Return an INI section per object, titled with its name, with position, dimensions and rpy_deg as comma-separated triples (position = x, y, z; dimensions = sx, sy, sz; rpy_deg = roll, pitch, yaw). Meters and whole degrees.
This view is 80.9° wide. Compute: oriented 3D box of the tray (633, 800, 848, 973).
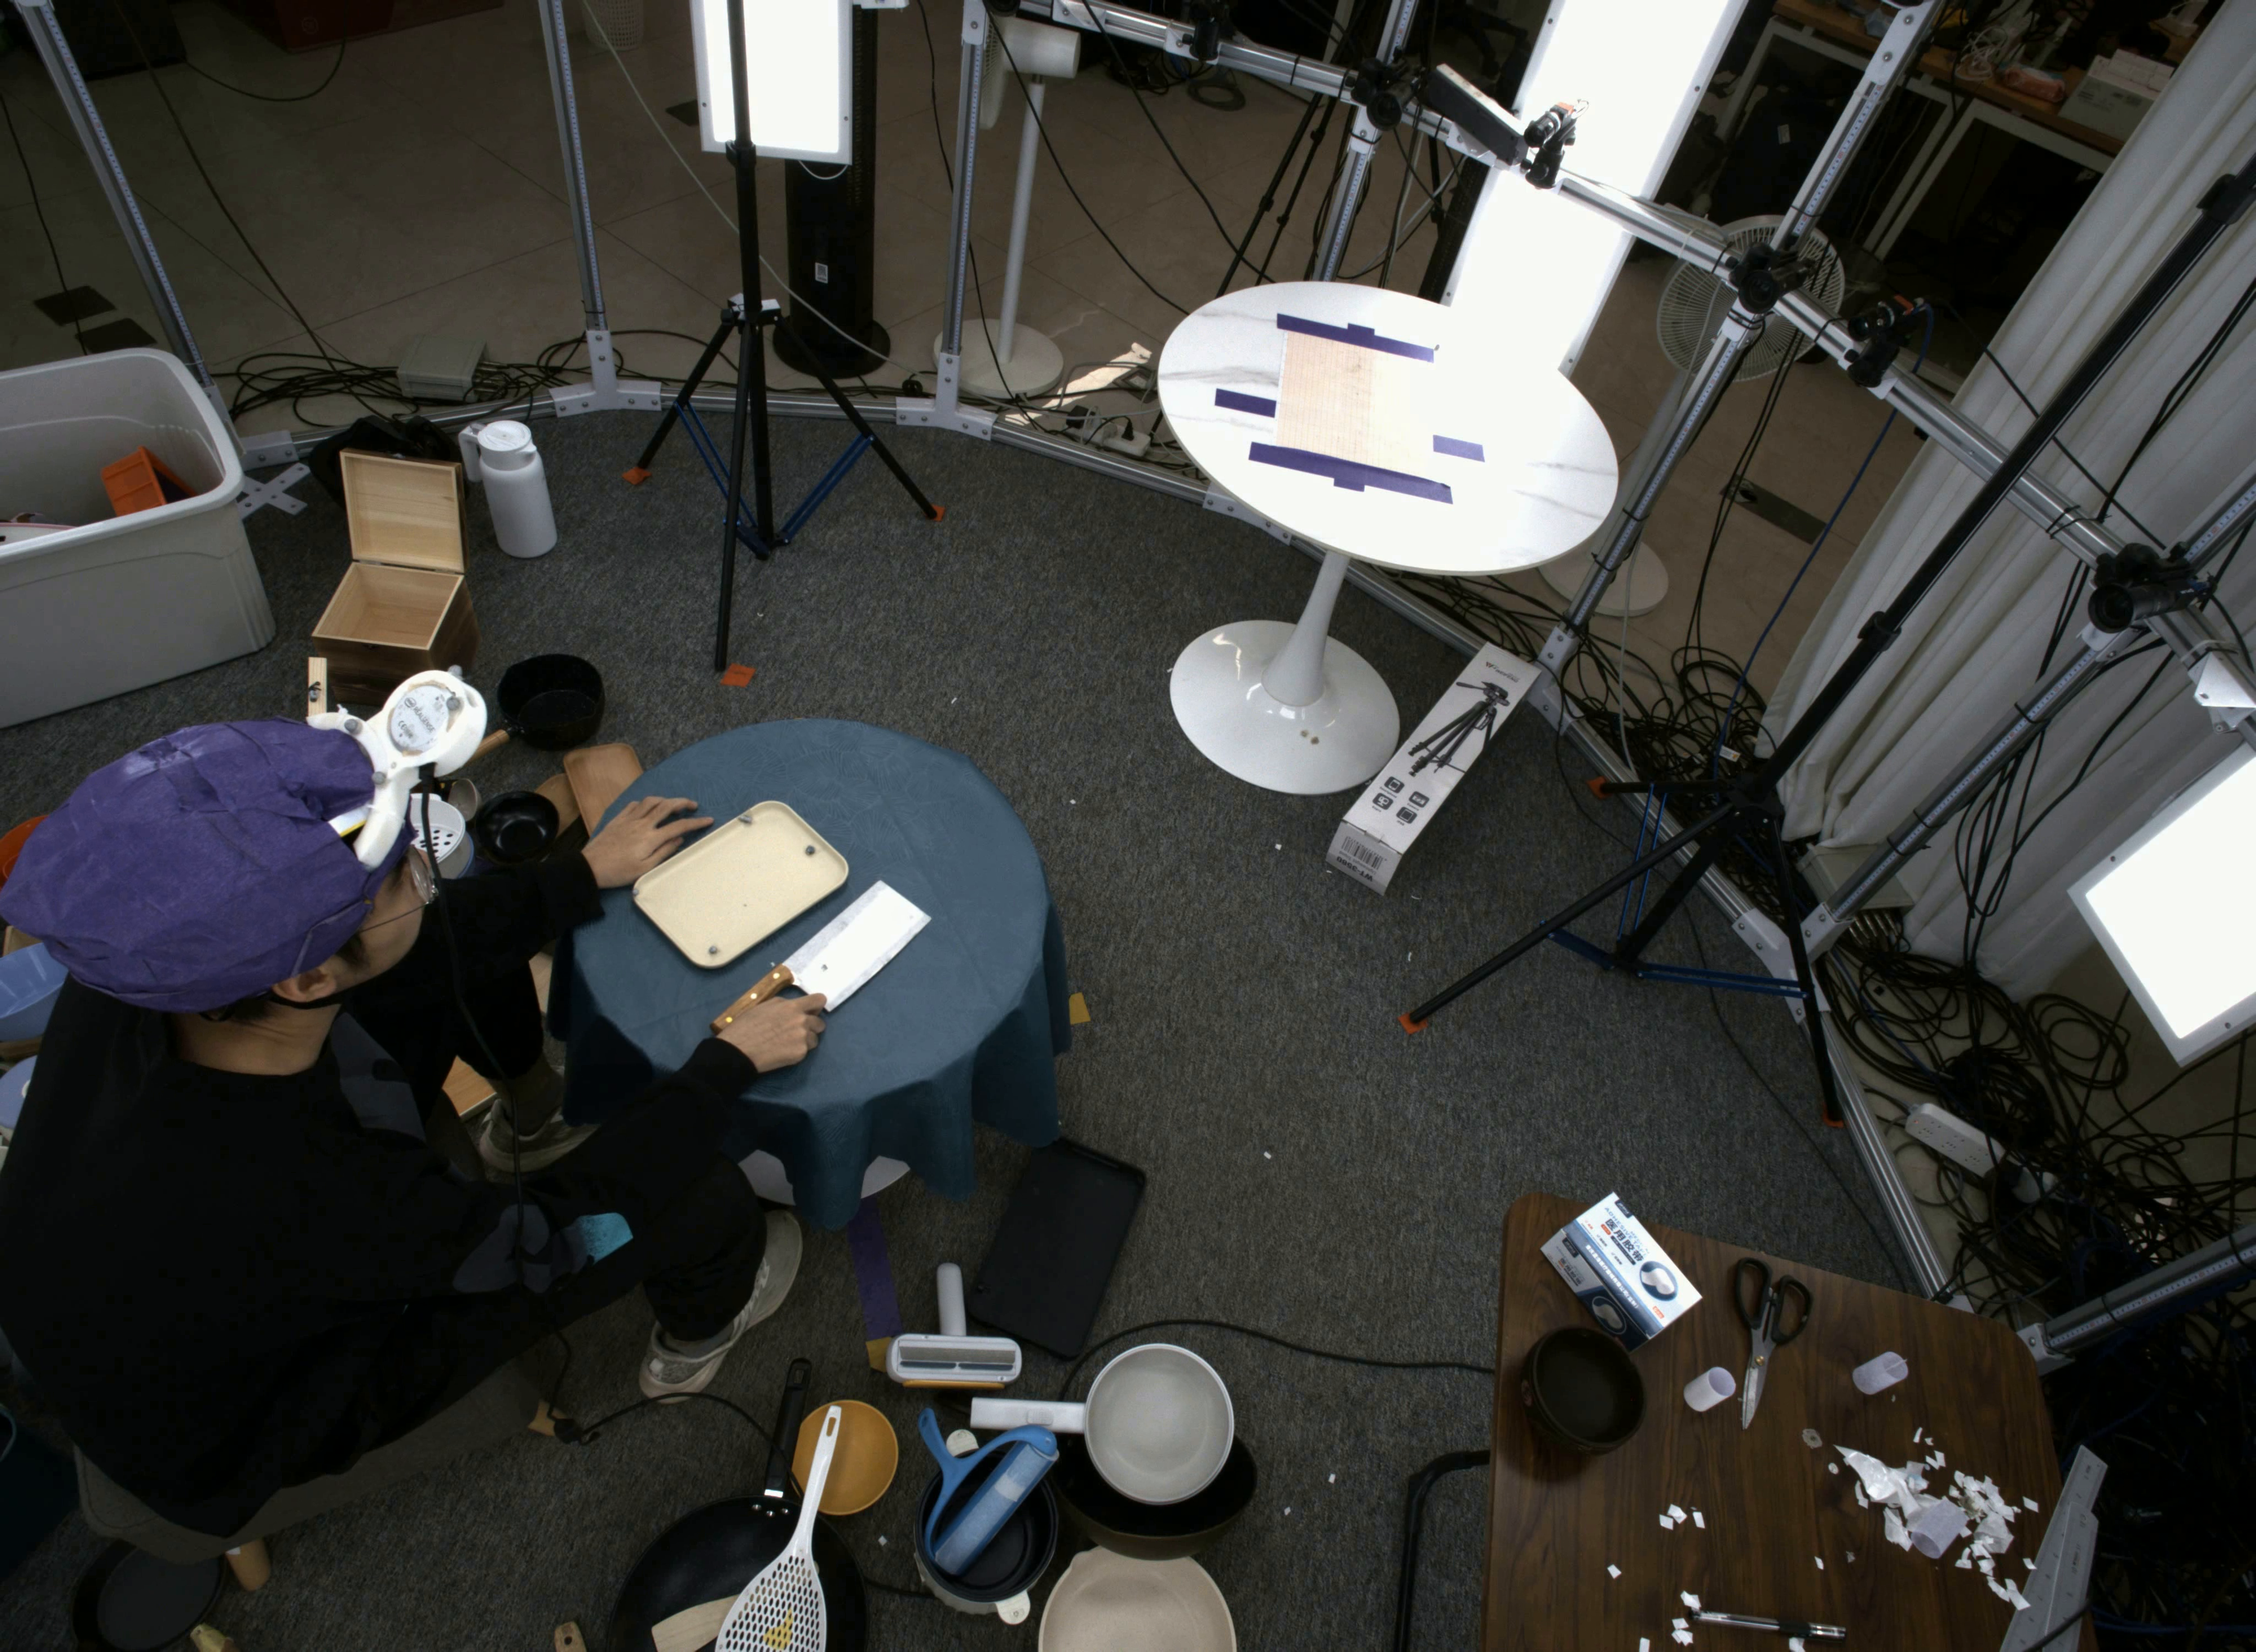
[tray]
position = -0.487, 0.072, 1.631
dimensions = 0.168, 0.018, 0.240
rpy_deg = 41, 54, 15

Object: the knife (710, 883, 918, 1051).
[knife]
position = -0.373, 0.177, 1.585
dimensions = 0.091, 0.021, 0.305
rpy_deg = 36, 51, 11
